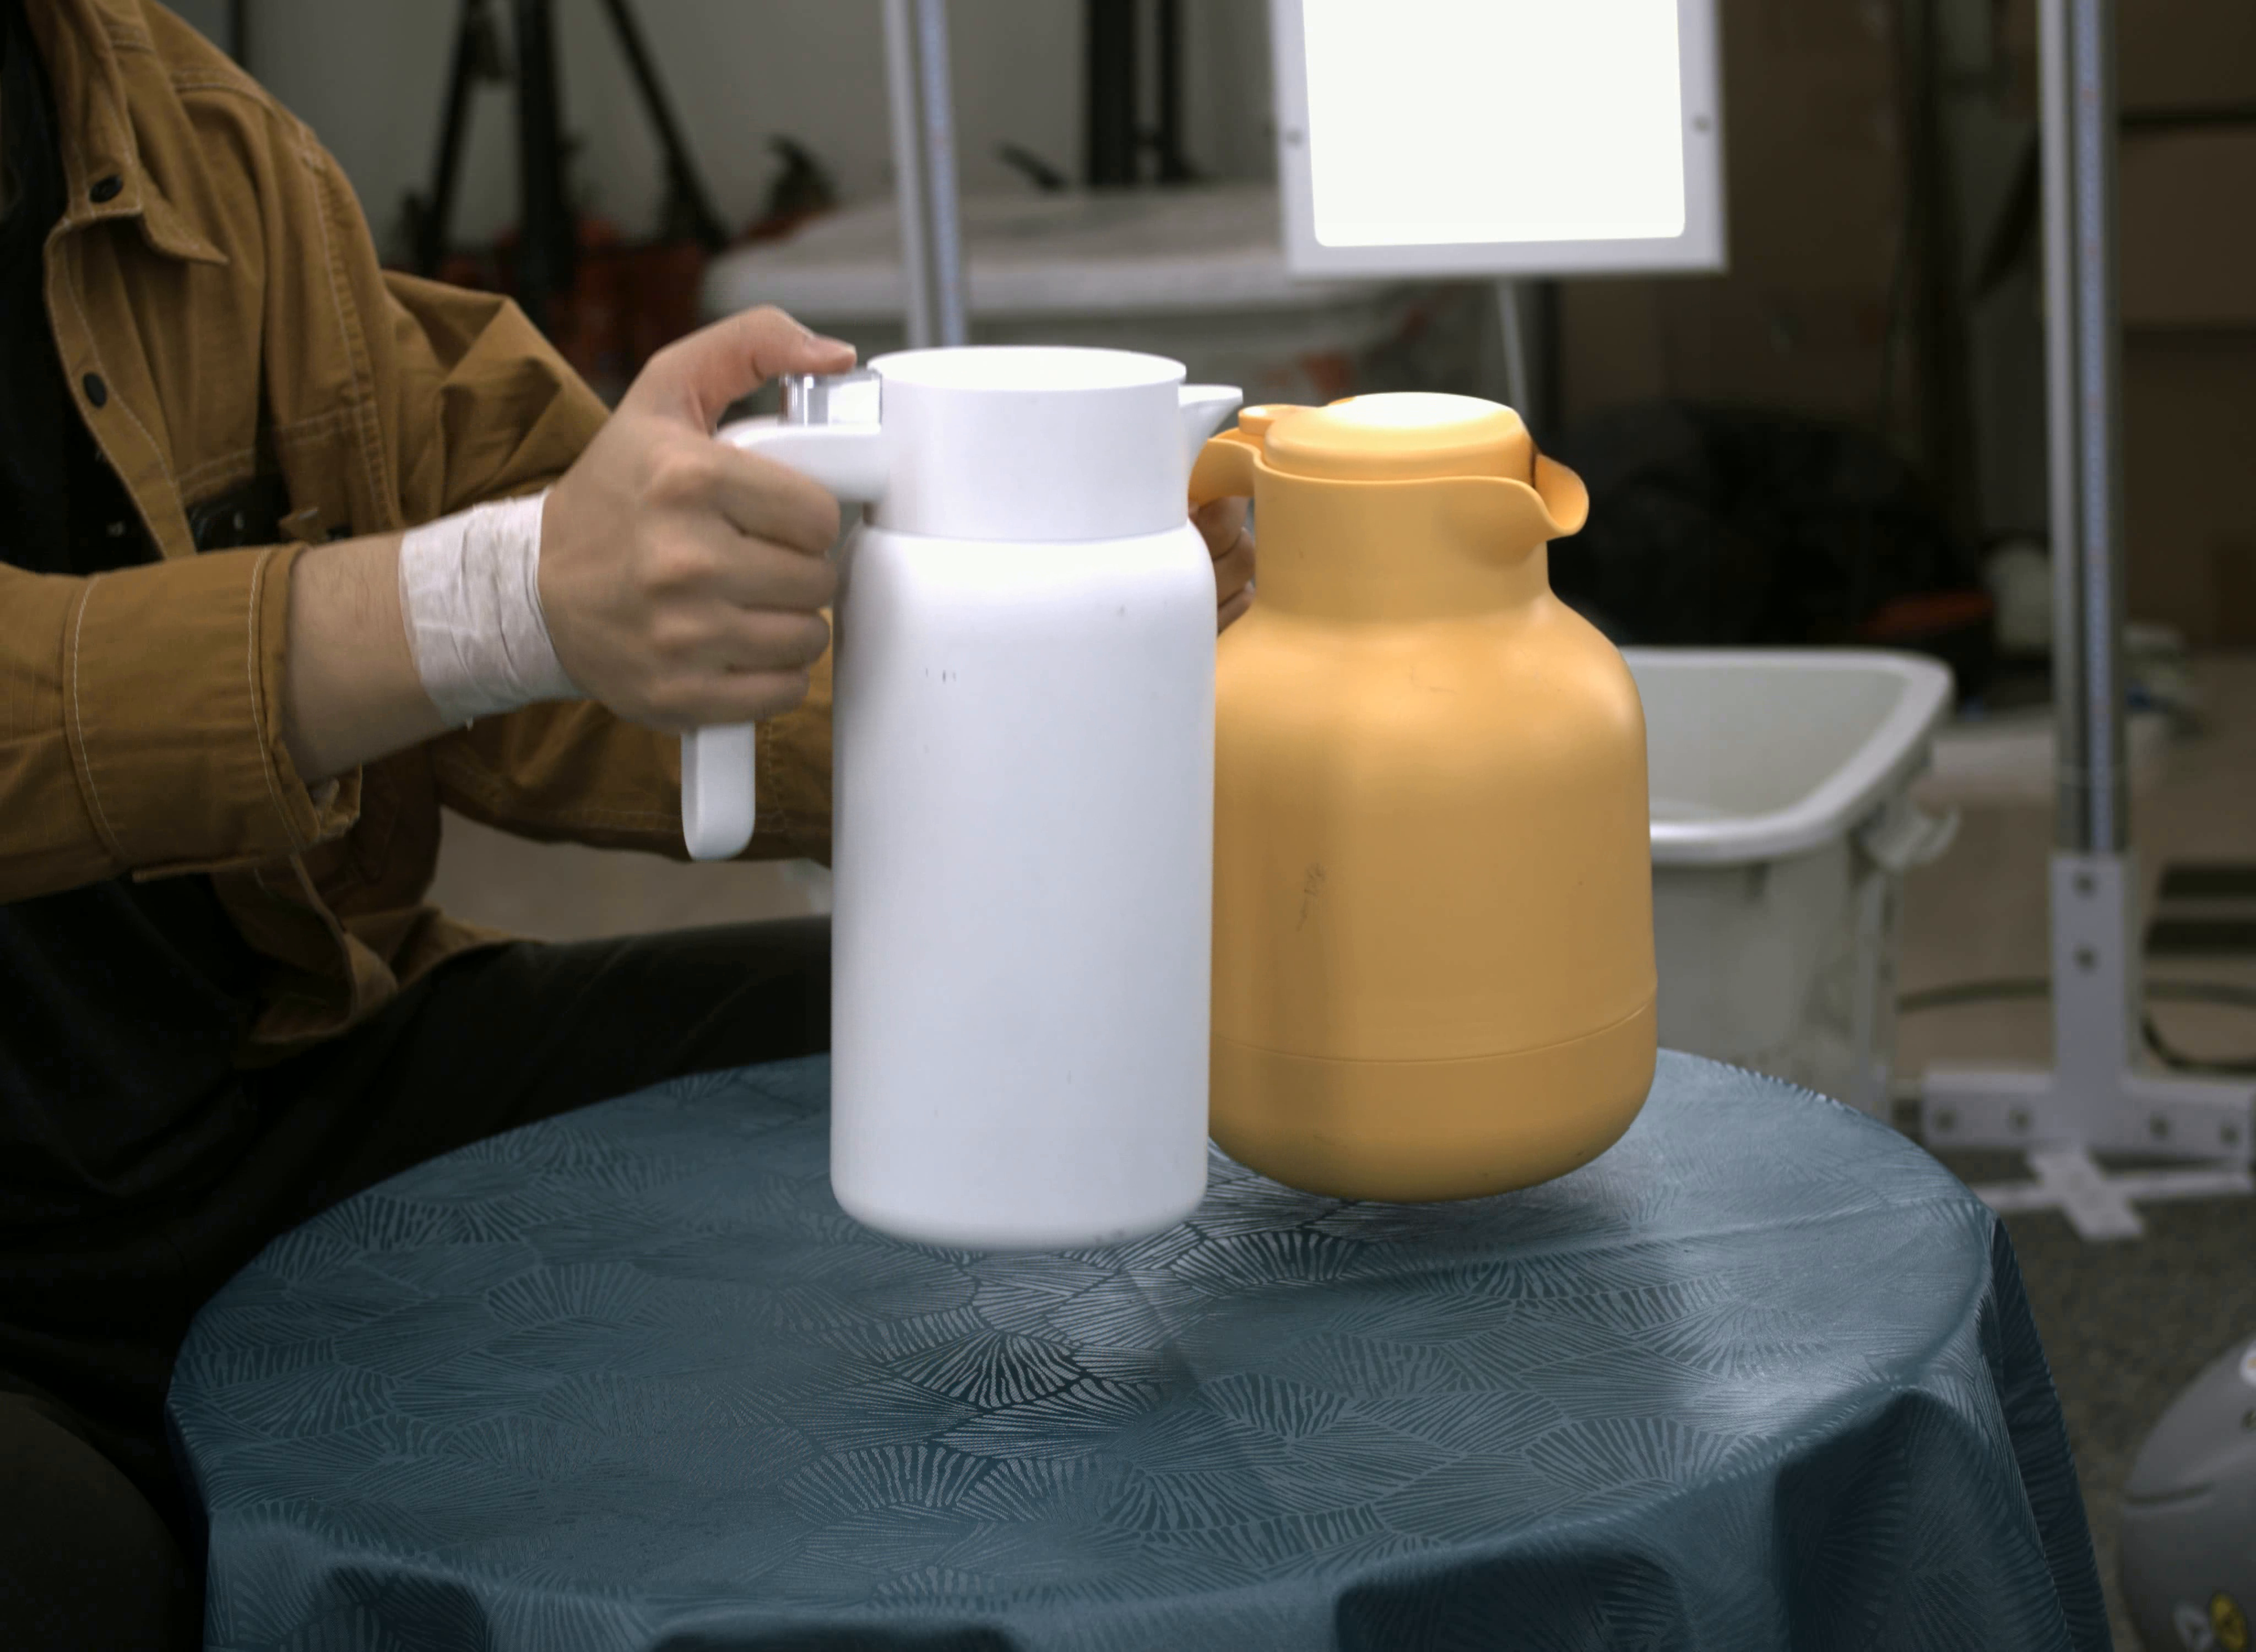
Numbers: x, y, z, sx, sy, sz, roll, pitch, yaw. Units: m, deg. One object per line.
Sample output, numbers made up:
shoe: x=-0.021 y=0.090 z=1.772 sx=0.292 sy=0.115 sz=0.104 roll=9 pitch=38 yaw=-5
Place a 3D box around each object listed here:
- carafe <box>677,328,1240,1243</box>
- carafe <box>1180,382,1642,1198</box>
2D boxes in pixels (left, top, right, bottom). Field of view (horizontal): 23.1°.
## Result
carafe: x=-0.050 y=-0.013 z=1.675 sx=0.170 sy=0.270 sz=0.125 roll=-2 pitch=14 yaw=-14
carafe: x=0.079 y=-0.020 z=1.850 sx=0.159 sy=0.262 sz=0.206 roll=-13 pitch=20 yaw=-41
